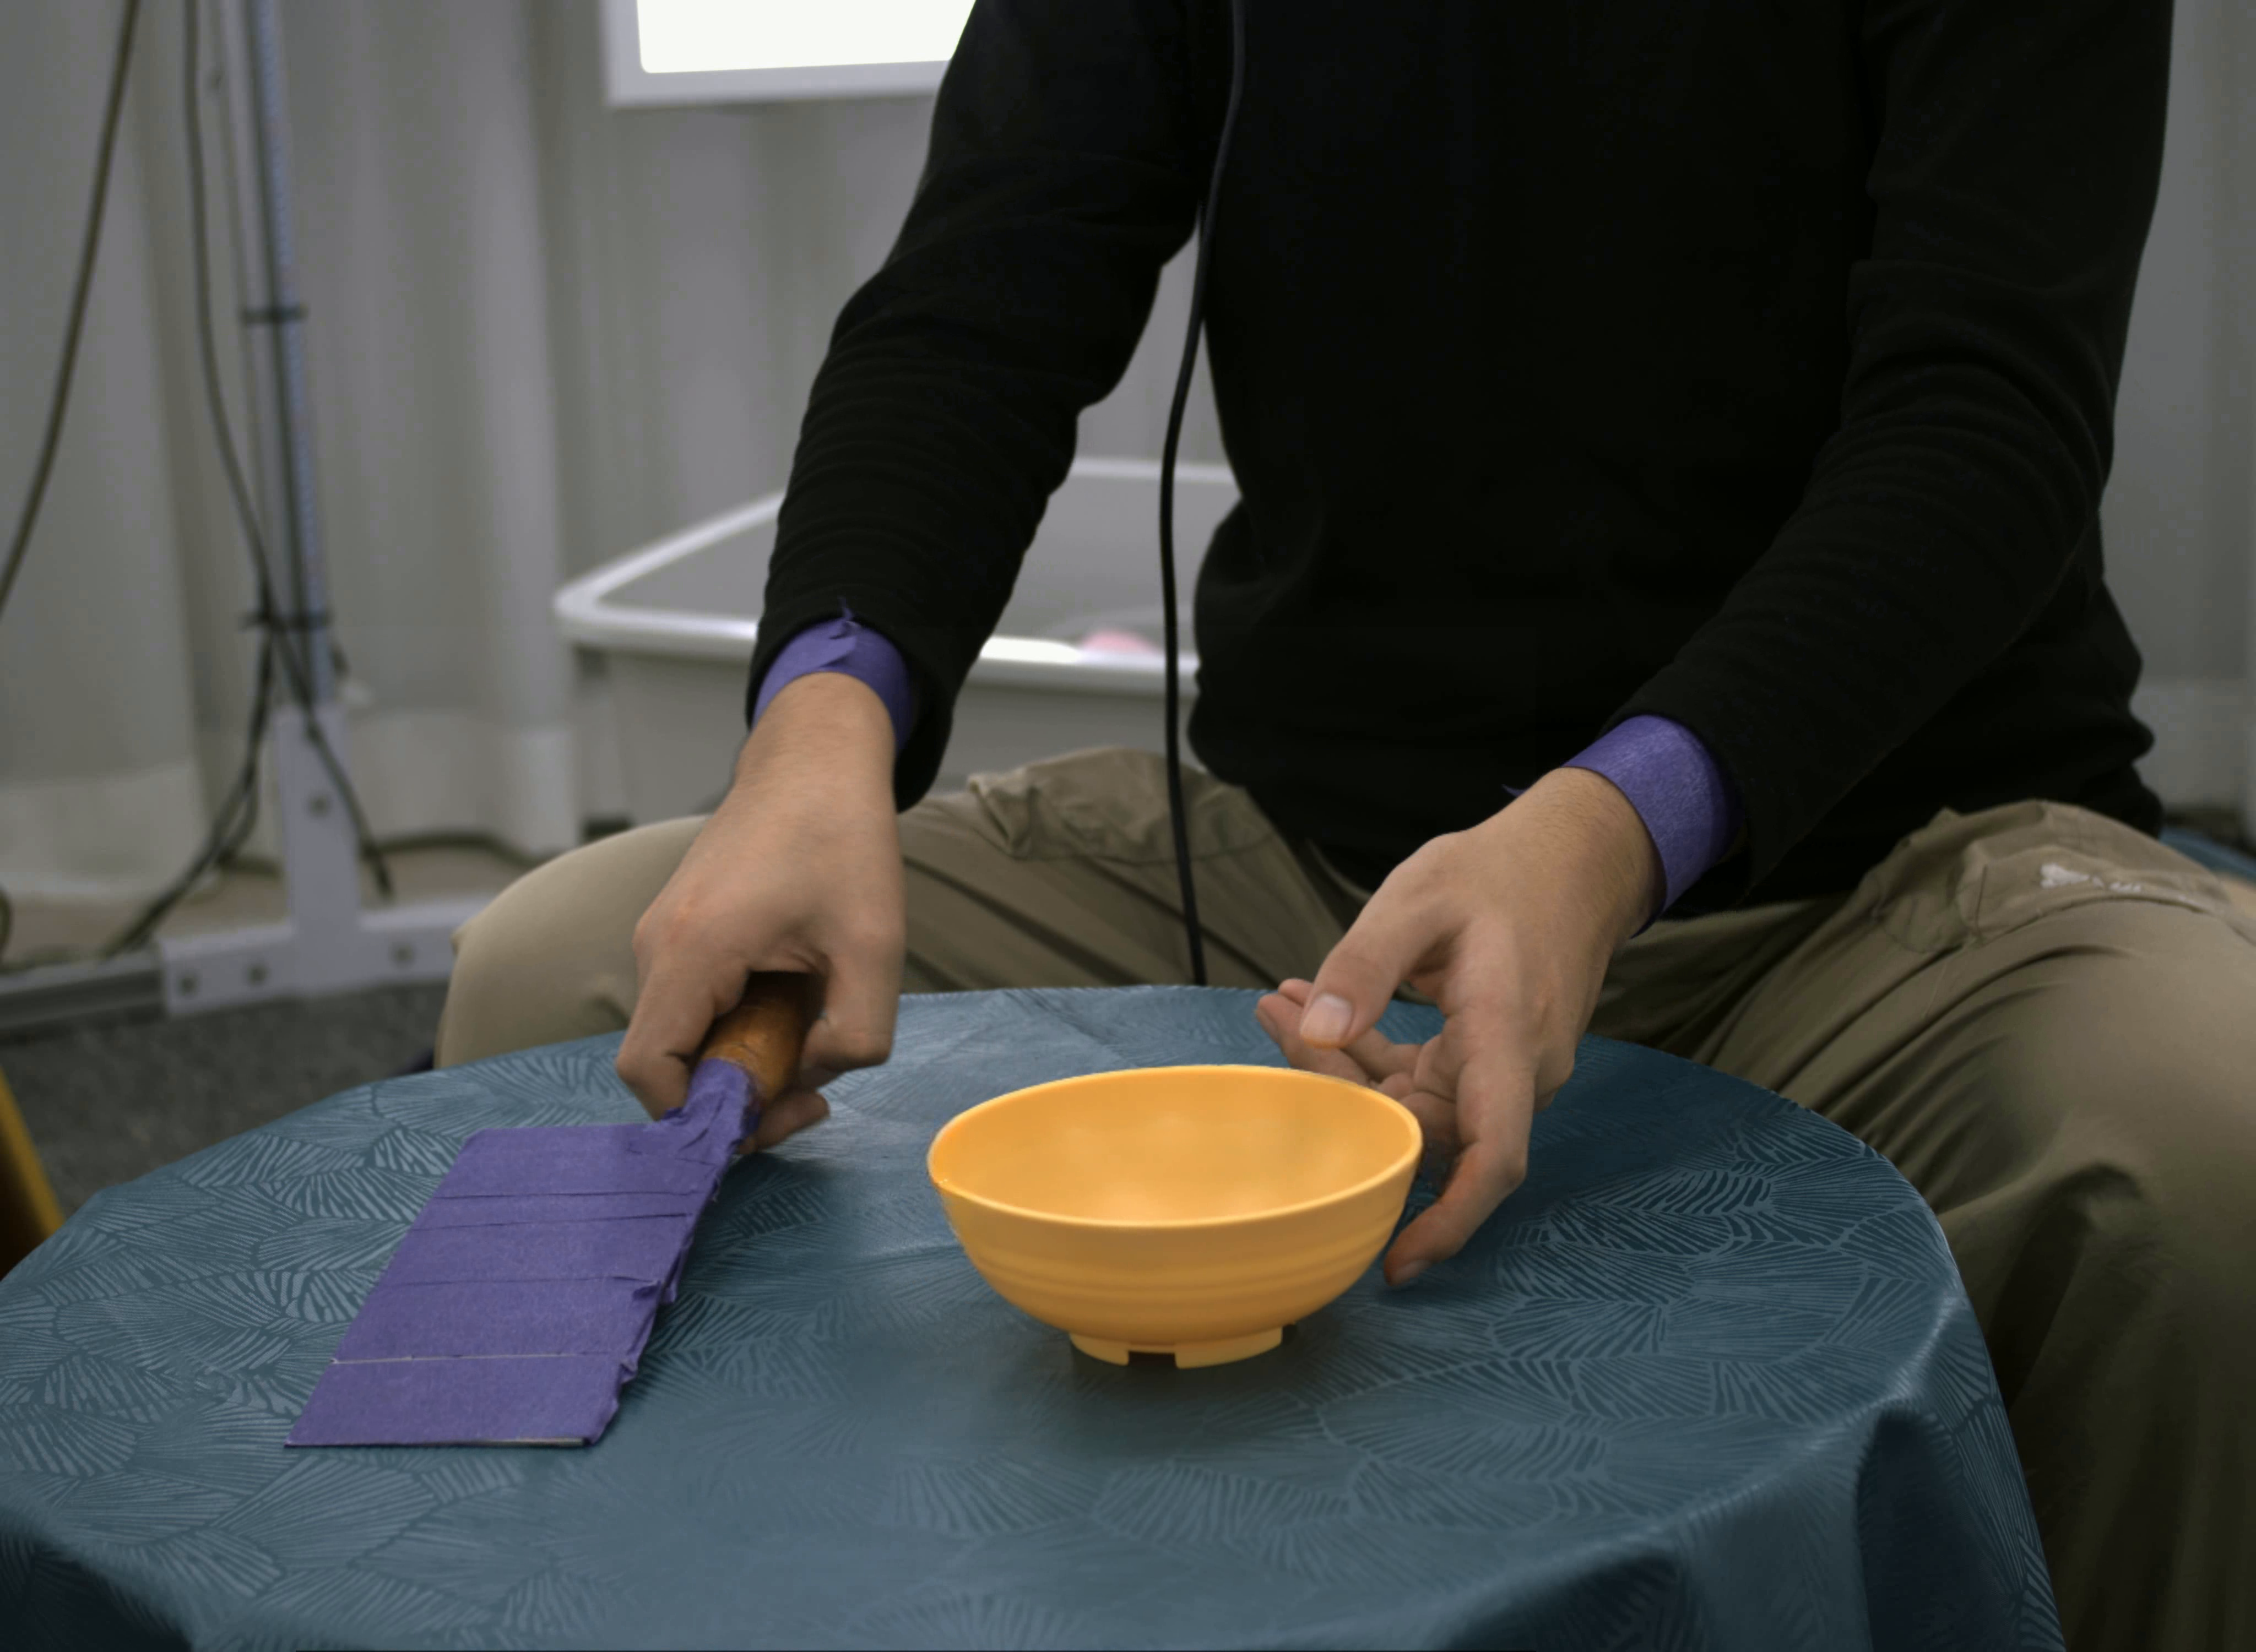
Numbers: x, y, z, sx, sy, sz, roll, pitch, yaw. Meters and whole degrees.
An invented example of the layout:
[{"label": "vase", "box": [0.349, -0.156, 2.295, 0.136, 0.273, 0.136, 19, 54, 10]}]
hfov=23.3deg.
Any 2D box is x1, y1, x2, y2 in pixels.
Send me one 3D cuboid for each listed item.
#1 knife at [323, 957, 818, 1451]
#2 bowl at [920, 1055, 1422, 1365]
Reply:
[{"label": "knife", "box": [-0.167, 0.111, 1.666, 0.103, 0.032, 0.317, 0, 20, 9]}, {"label": "bowl", "box": [0.013, 0.117, 1.584, 0.145, 0.060, 0.146, -1, 16, 0]}]
